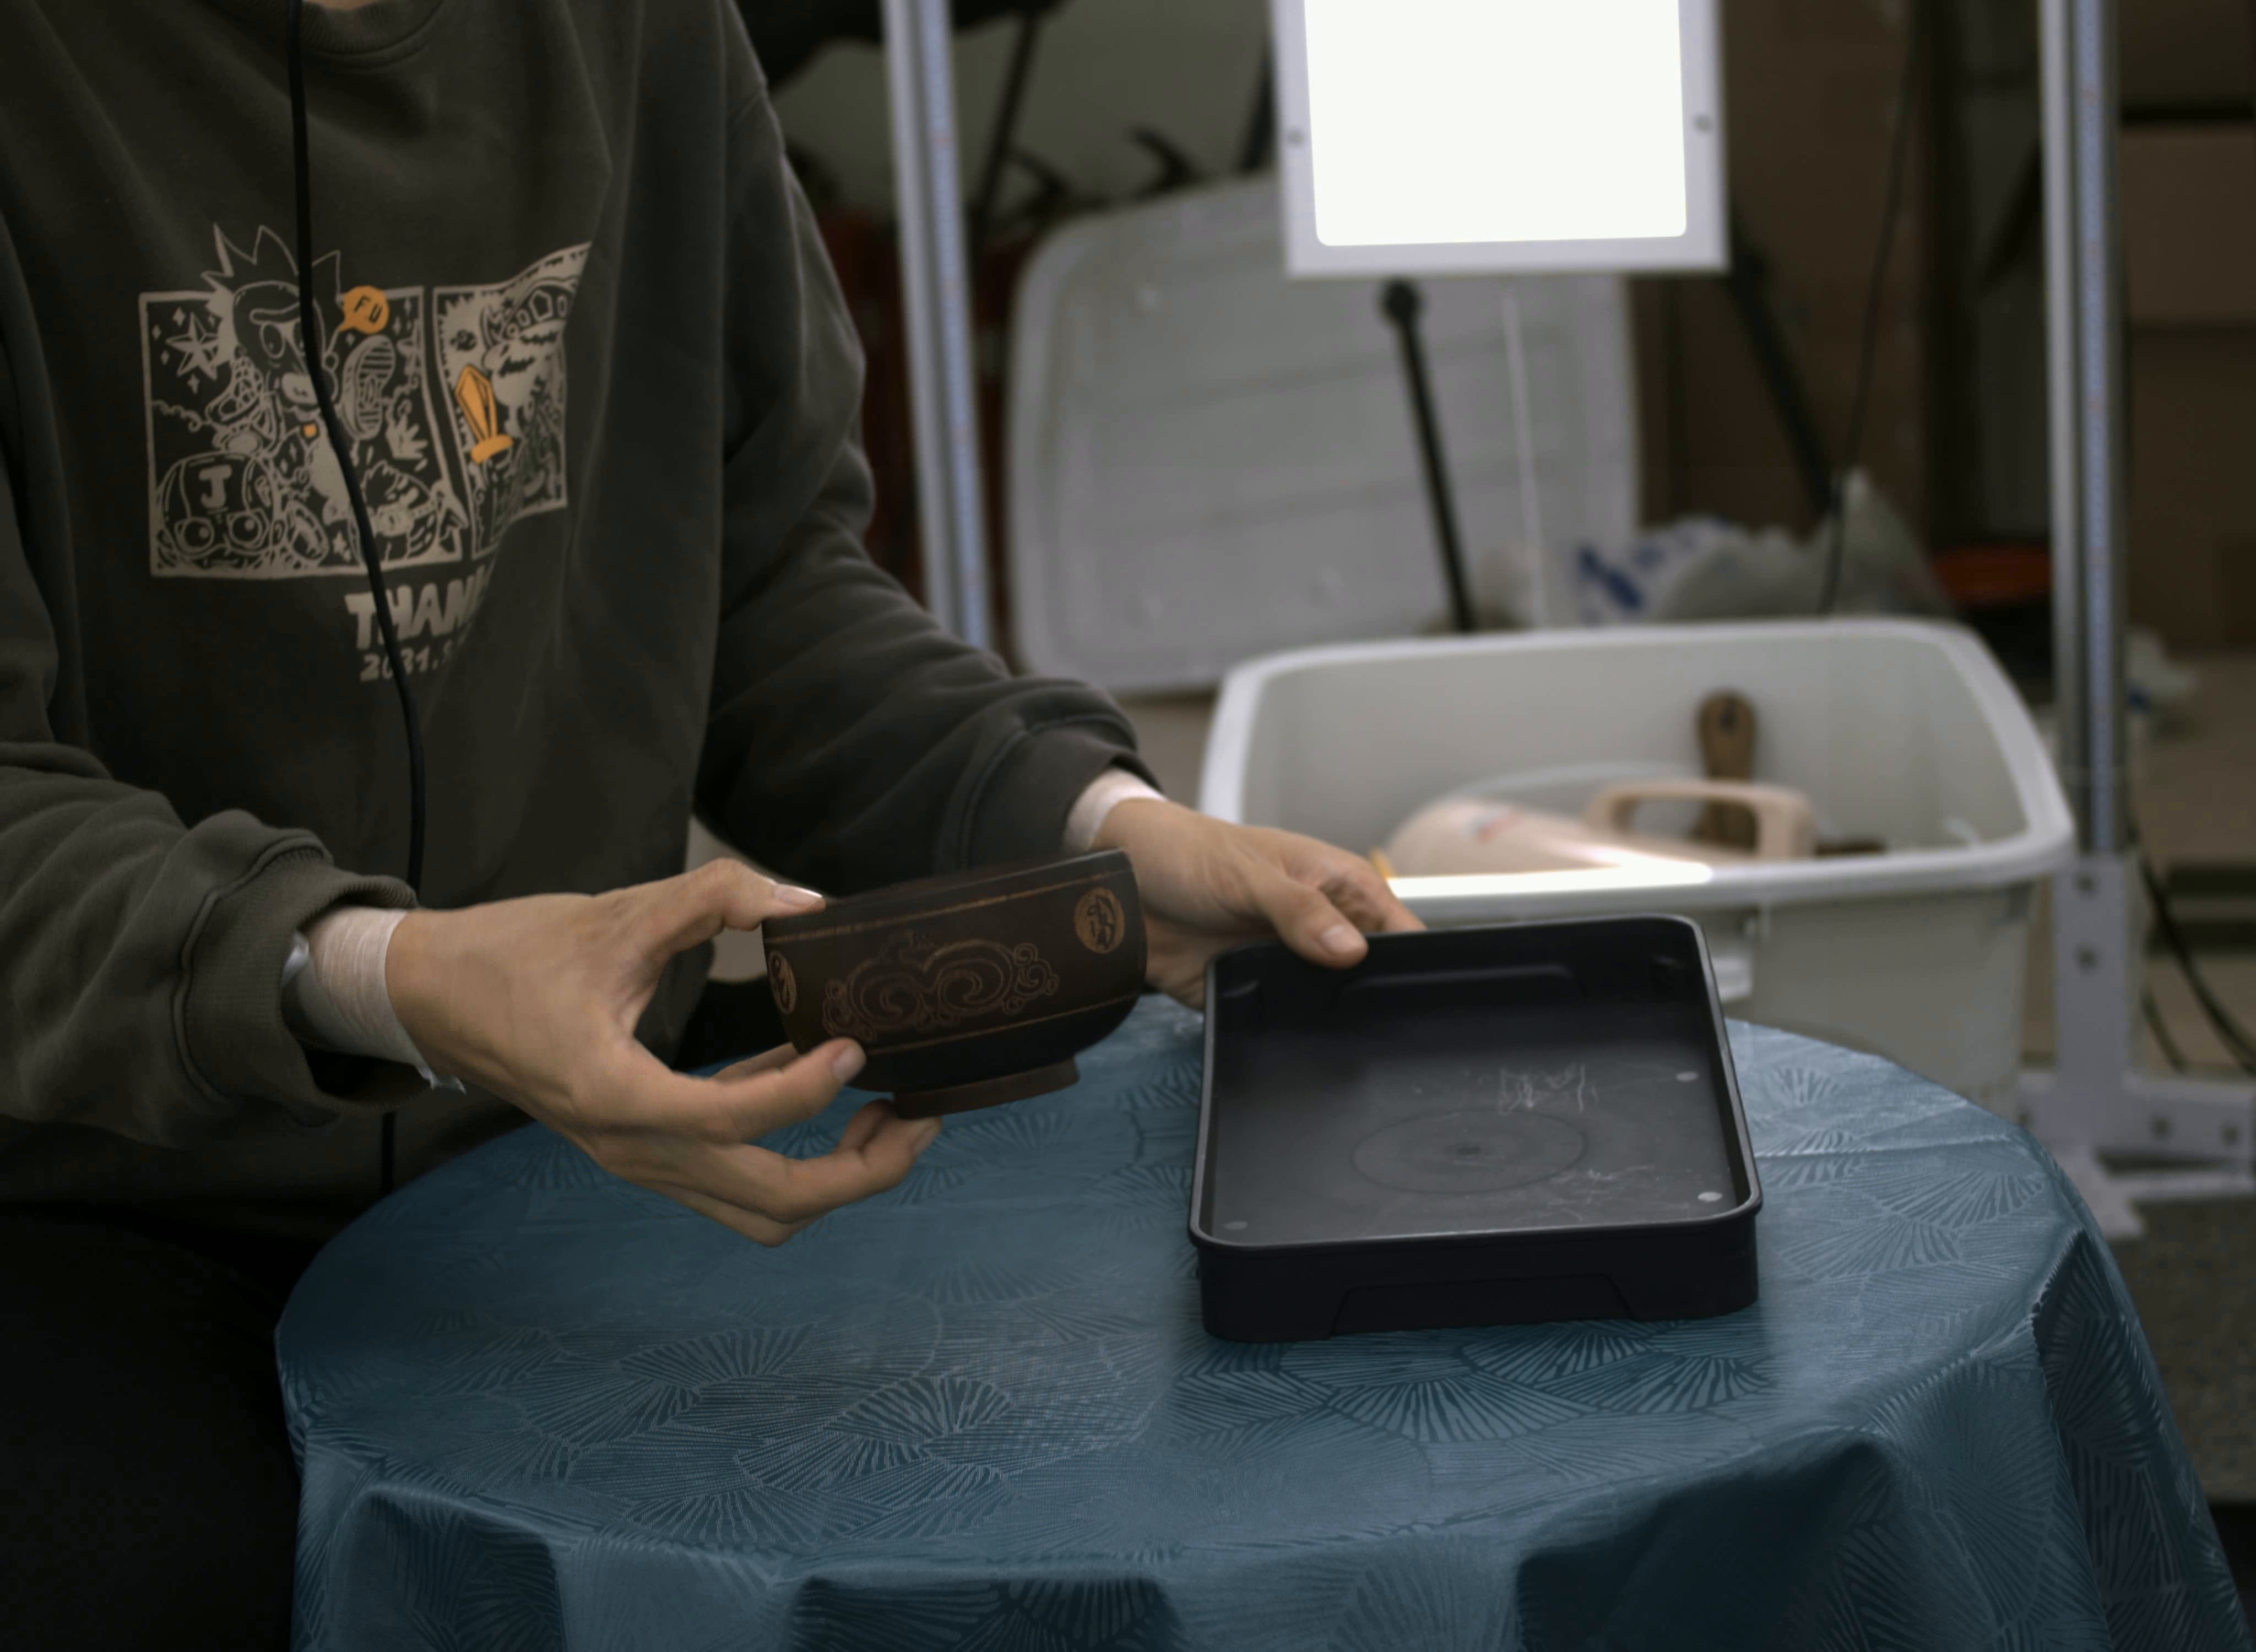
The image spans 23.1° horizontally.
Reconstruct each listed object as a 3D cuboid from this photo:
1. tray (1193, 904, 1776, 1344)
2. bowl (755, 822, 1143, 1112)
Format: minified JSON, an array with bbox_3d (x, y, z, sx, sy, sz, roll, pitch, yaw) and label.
[{"bbox_3d":[0.116,0.097,1.874,0.184,0.037,0.317,-6,17,3],"label":"tray"},{"bbox_3d":[-0.050,0.047,1.685,0.118,0.070,0.118,-16,4,0],"label":"bowl"}]
